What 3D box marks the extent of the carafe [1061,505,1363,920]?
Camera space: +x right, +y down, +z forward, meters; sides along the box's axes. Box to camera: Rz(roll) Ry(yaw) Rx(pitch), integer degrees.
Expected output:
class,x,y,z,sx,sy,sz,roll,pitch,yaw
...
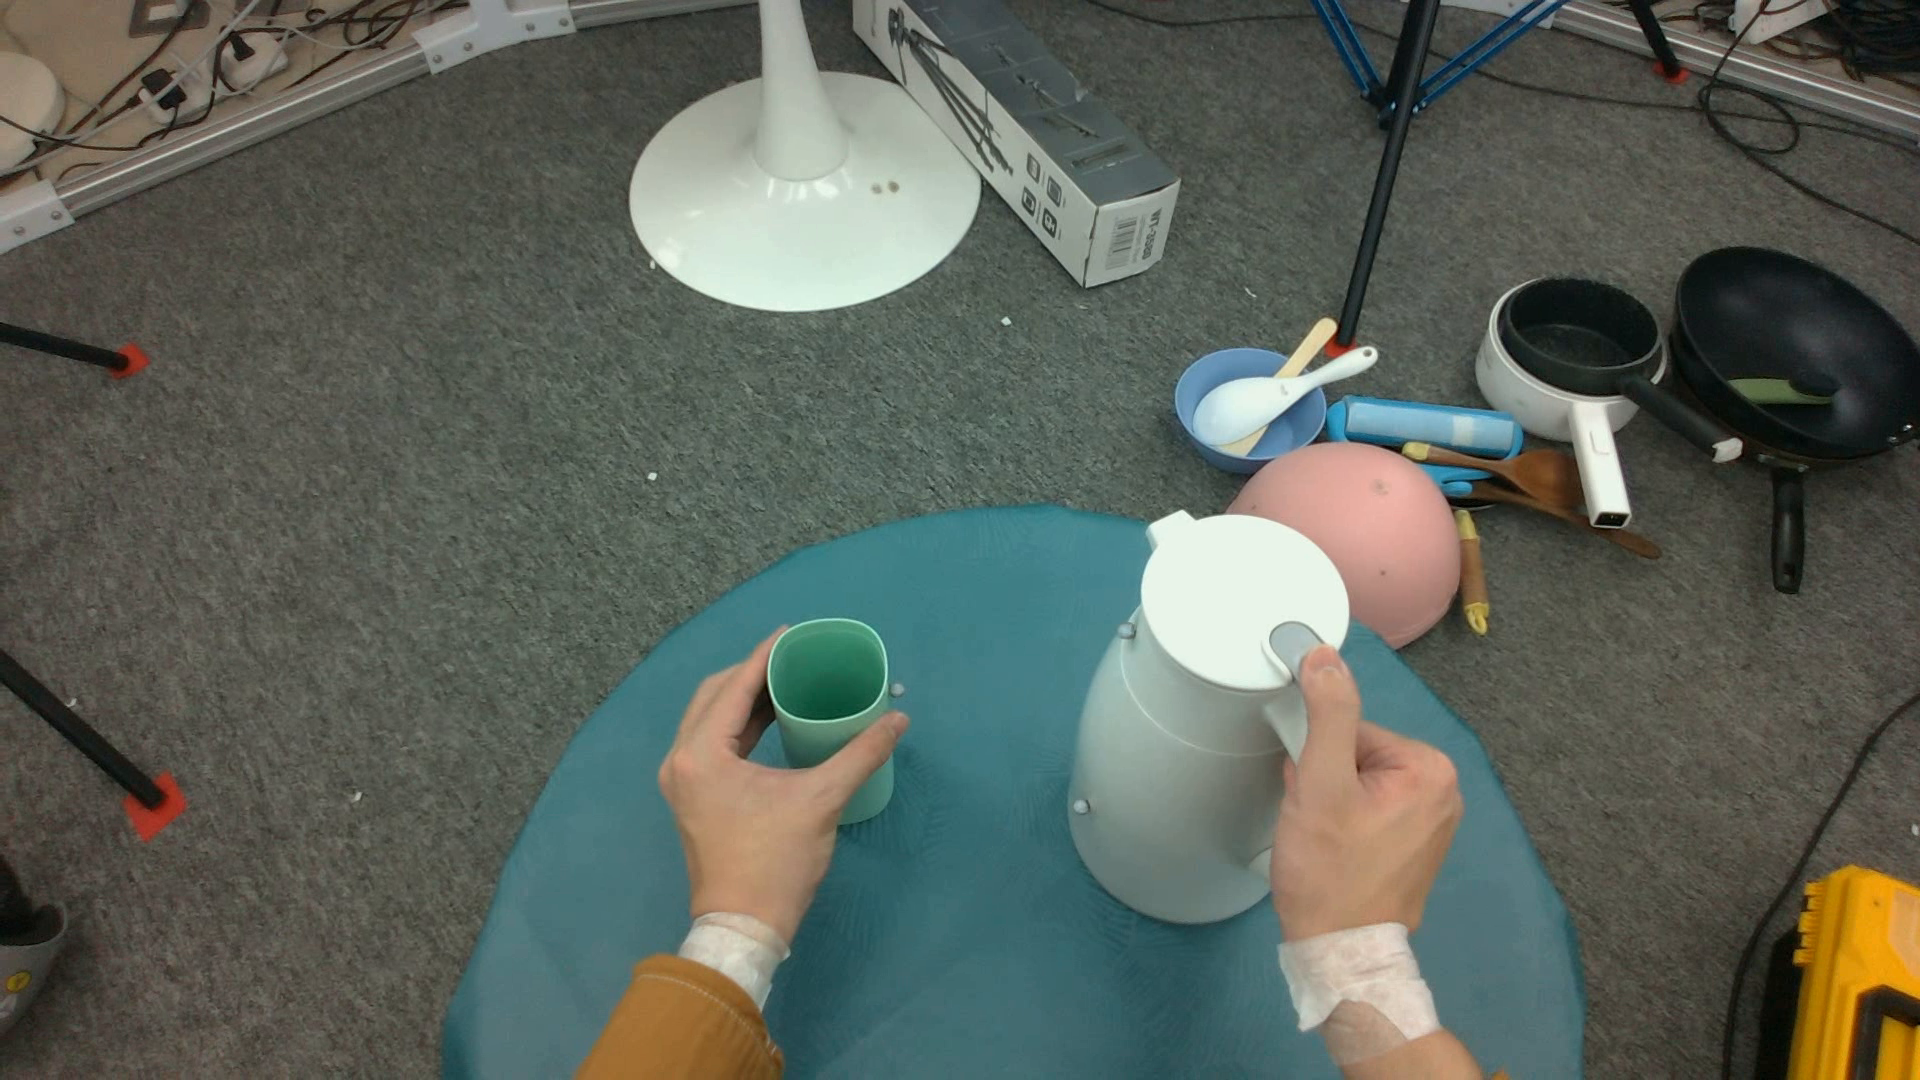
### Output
class,x,y,z,sx,sy,sz,roll,pitch,yaw
carafe,0.135,0.102,0.696,0.133,0.247,0.168,-25,59,-17

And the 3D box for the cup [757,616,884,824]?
class,x,y,z,sx,sy,sz,roll,pitch,yaw
cup,-0.075,0.104,0.768,0.067,0.131,0.067,0,54,0
